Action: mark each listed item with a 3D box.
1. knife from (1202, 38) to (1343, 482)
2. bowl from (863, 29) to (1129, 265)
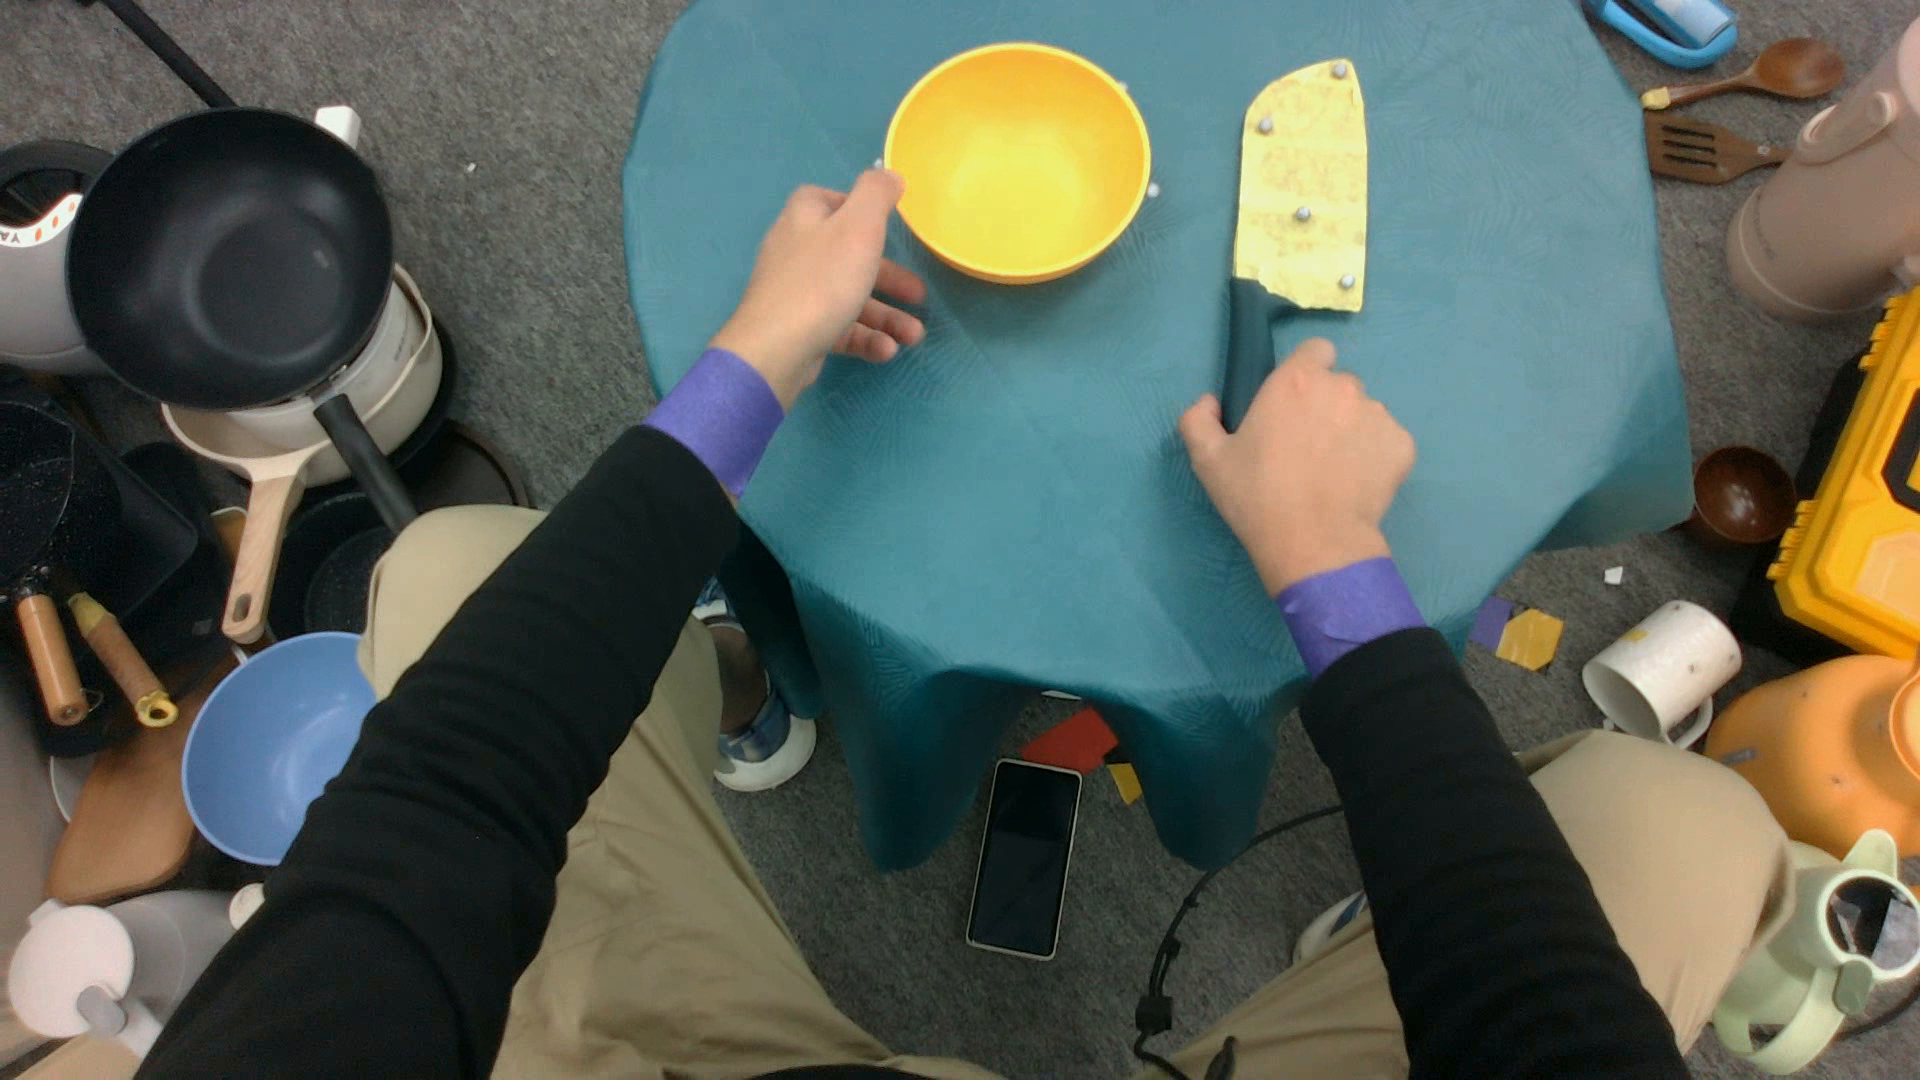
[{"bbox_3d":[0.176,-0.166,0.782,0.081,0.027,0.290,8,72,5],"label":"knife"},{"bbox_3d":[0.021,-0.209,0.774,0.145,0.060,0.145,-1,72,3],"label":"bowl"}]
